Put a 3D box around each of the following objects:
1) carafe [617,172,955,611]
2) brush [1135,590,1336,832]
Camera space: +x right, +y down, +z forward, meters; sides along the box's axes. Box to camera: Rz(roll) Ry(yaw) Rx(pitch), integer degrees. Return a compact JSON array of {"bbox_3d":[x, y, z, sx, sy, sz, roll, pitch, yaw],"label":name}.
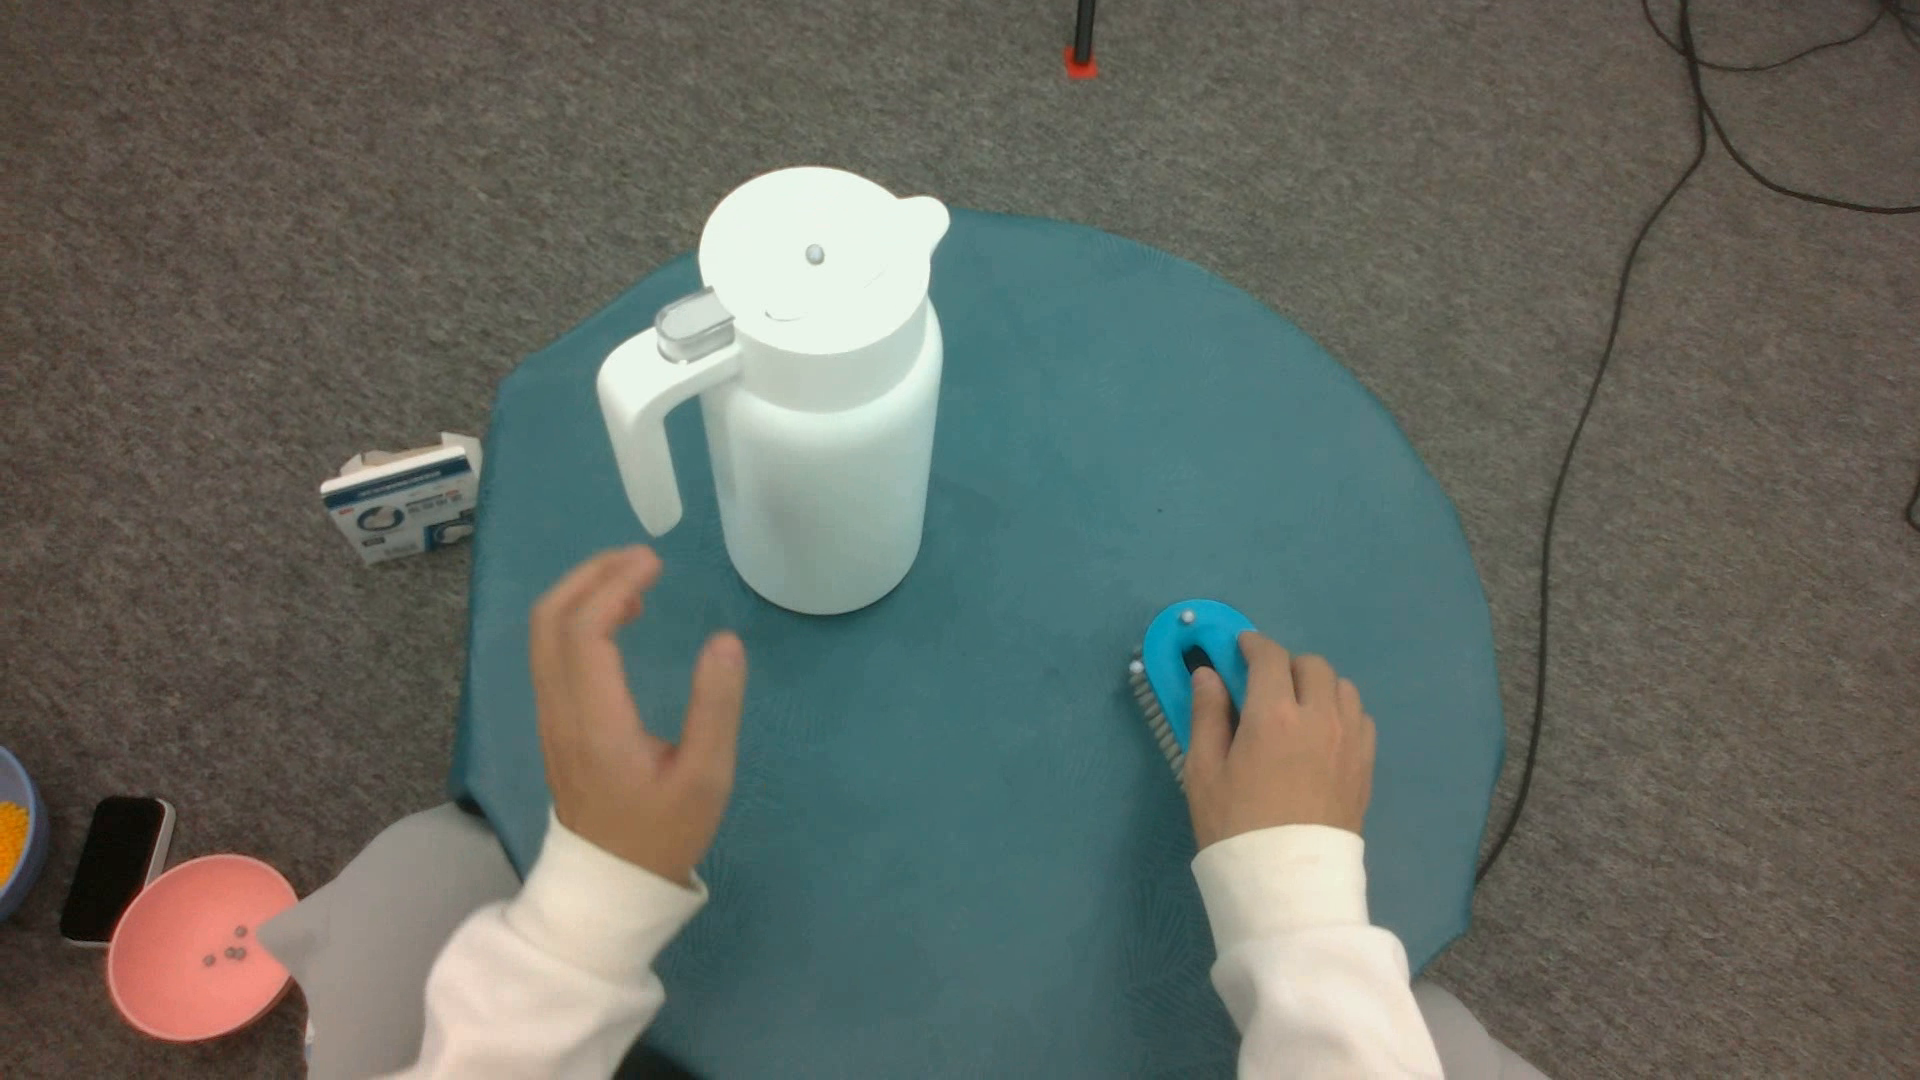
[{"bbox_3d":[-0.080,-0.055,0.711,0.173,0.268,0.124,-32,73,-18],"label":"carafe"},{"bbox_3d":[0.159,0.088,0.771,0.084,0.063,0.142,-16,67,-17],"label":"brush"}]
